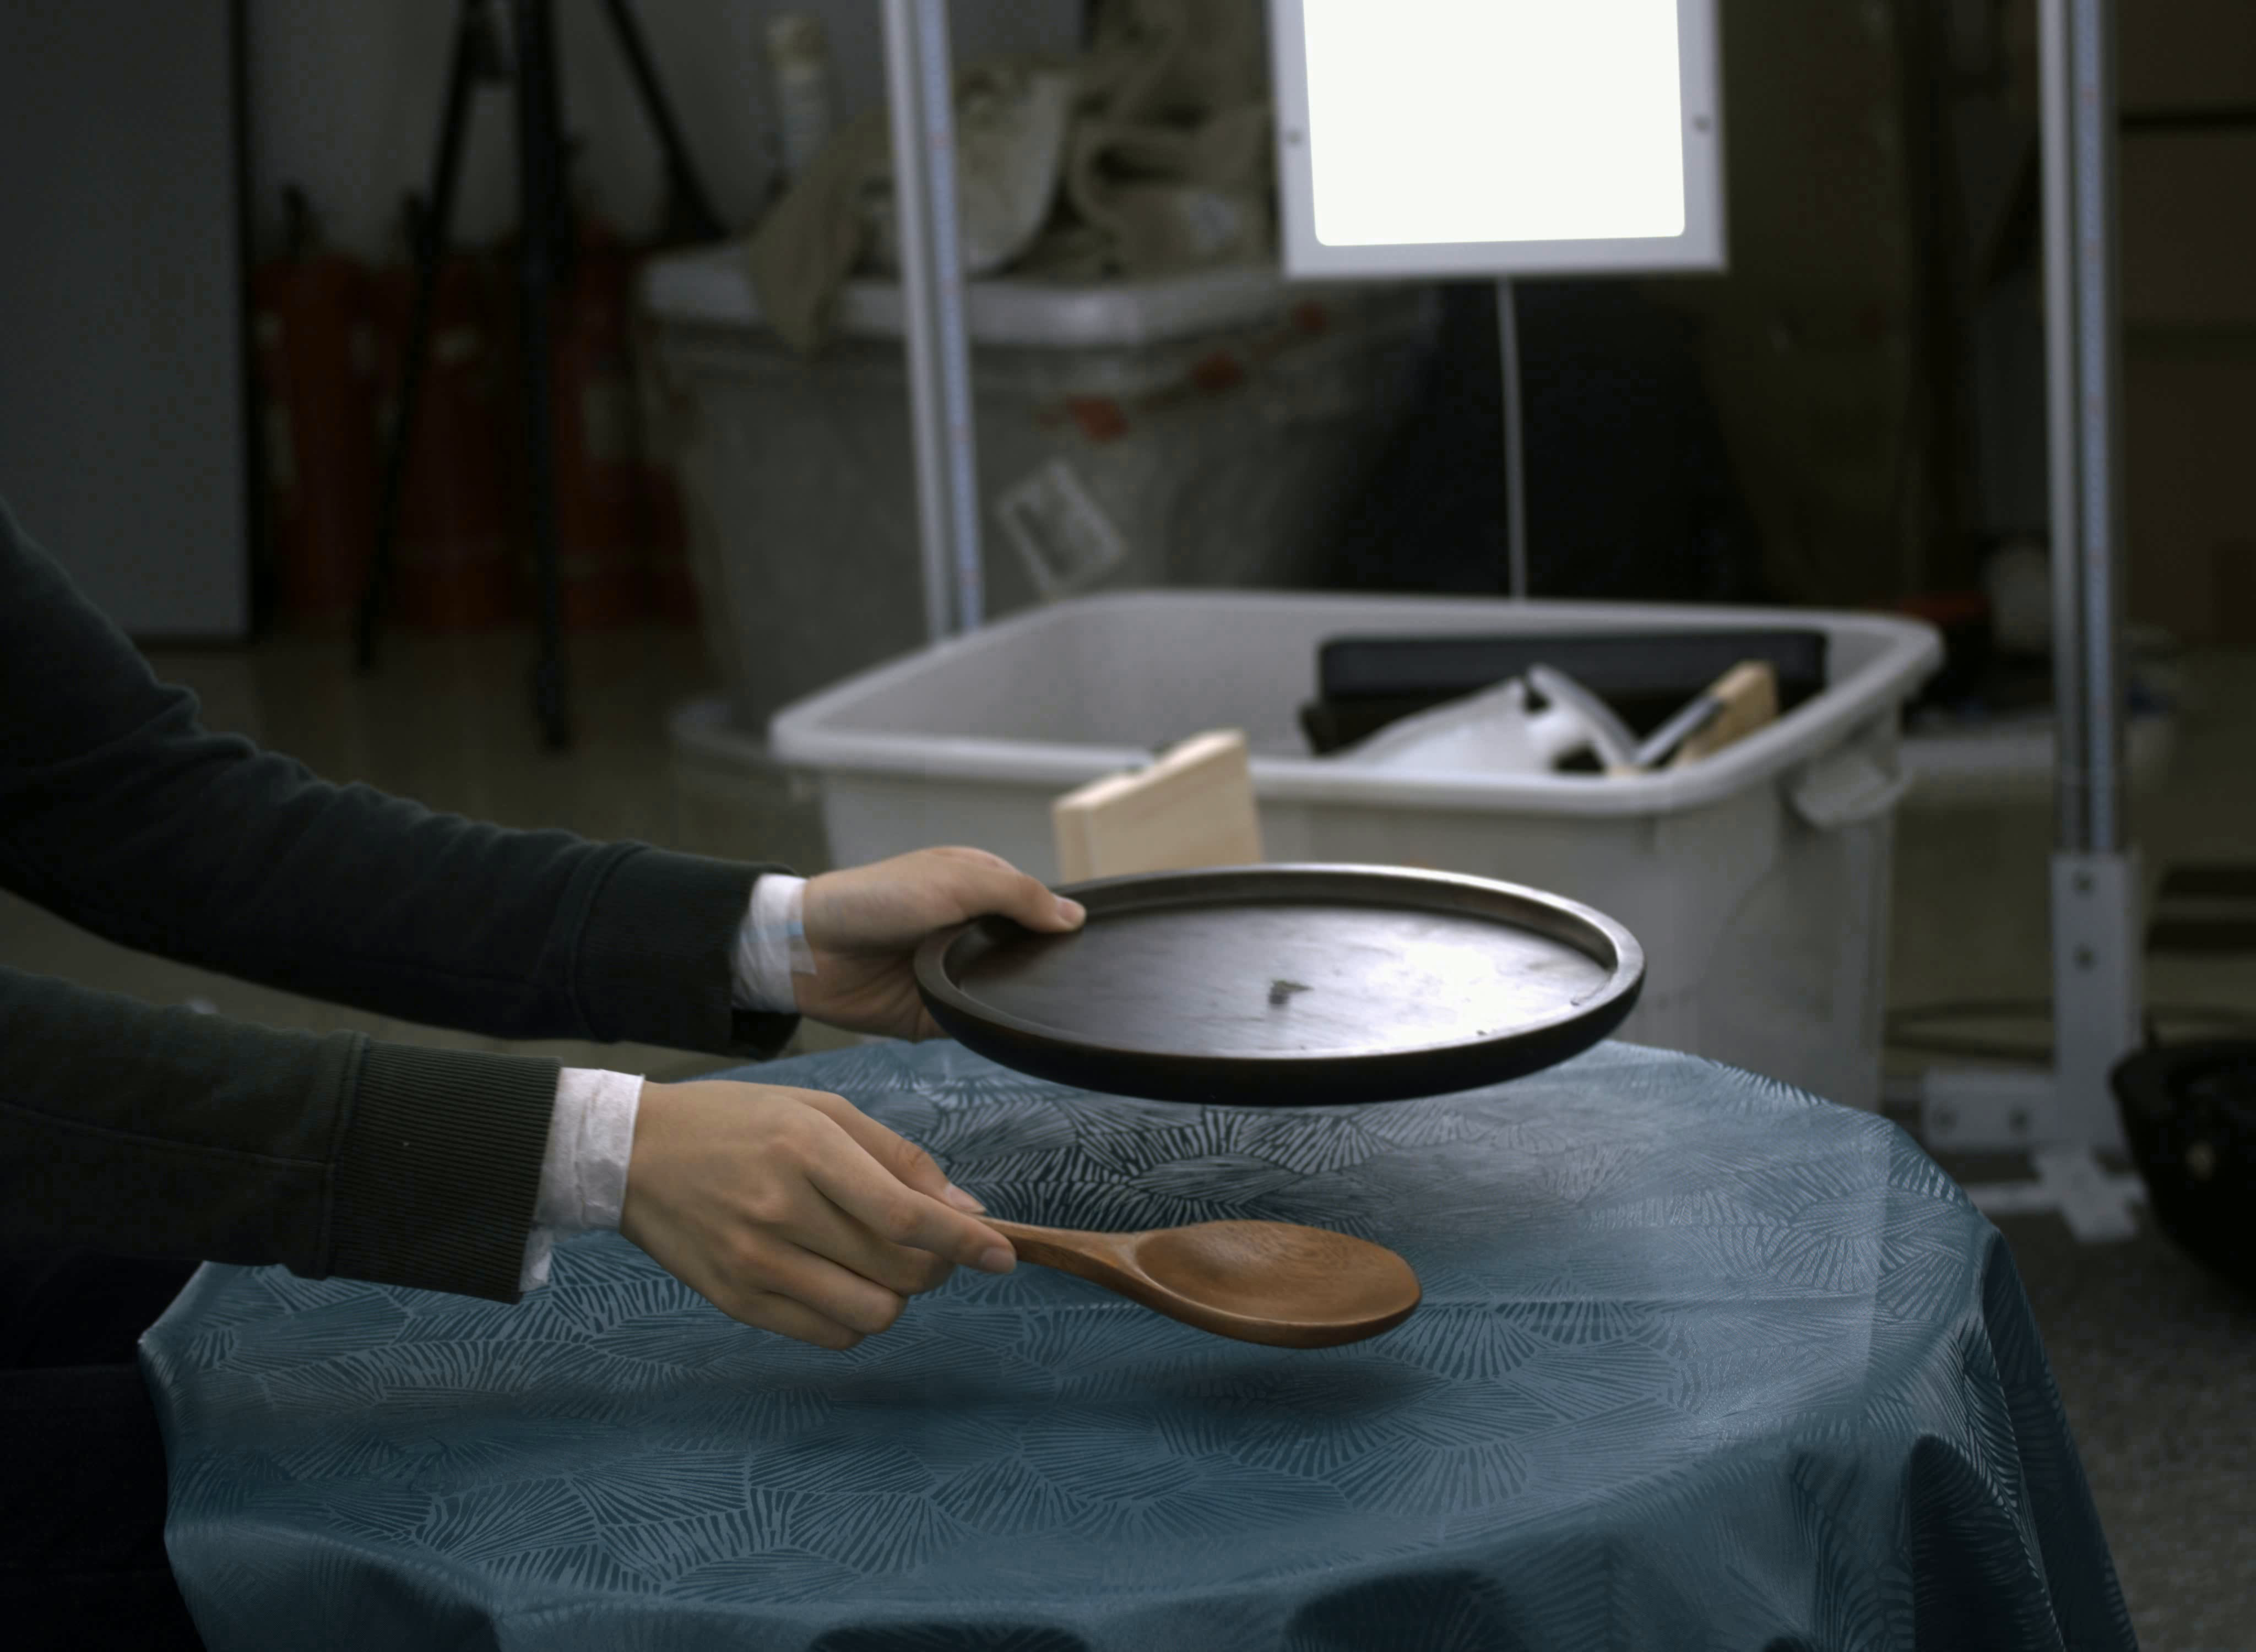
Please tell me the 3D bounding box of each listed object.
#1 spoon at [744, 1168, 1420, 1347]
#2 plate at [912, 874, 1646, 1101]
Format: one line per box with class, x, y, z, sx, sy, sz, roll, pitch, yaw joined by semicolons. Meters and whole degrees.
spoon;-0.016;0.131;1.702;0.218;0.017;0.074;9;23;15
plate;0.052;0.053;1.892;0.254;0.029;0.254;-1;13;-1
